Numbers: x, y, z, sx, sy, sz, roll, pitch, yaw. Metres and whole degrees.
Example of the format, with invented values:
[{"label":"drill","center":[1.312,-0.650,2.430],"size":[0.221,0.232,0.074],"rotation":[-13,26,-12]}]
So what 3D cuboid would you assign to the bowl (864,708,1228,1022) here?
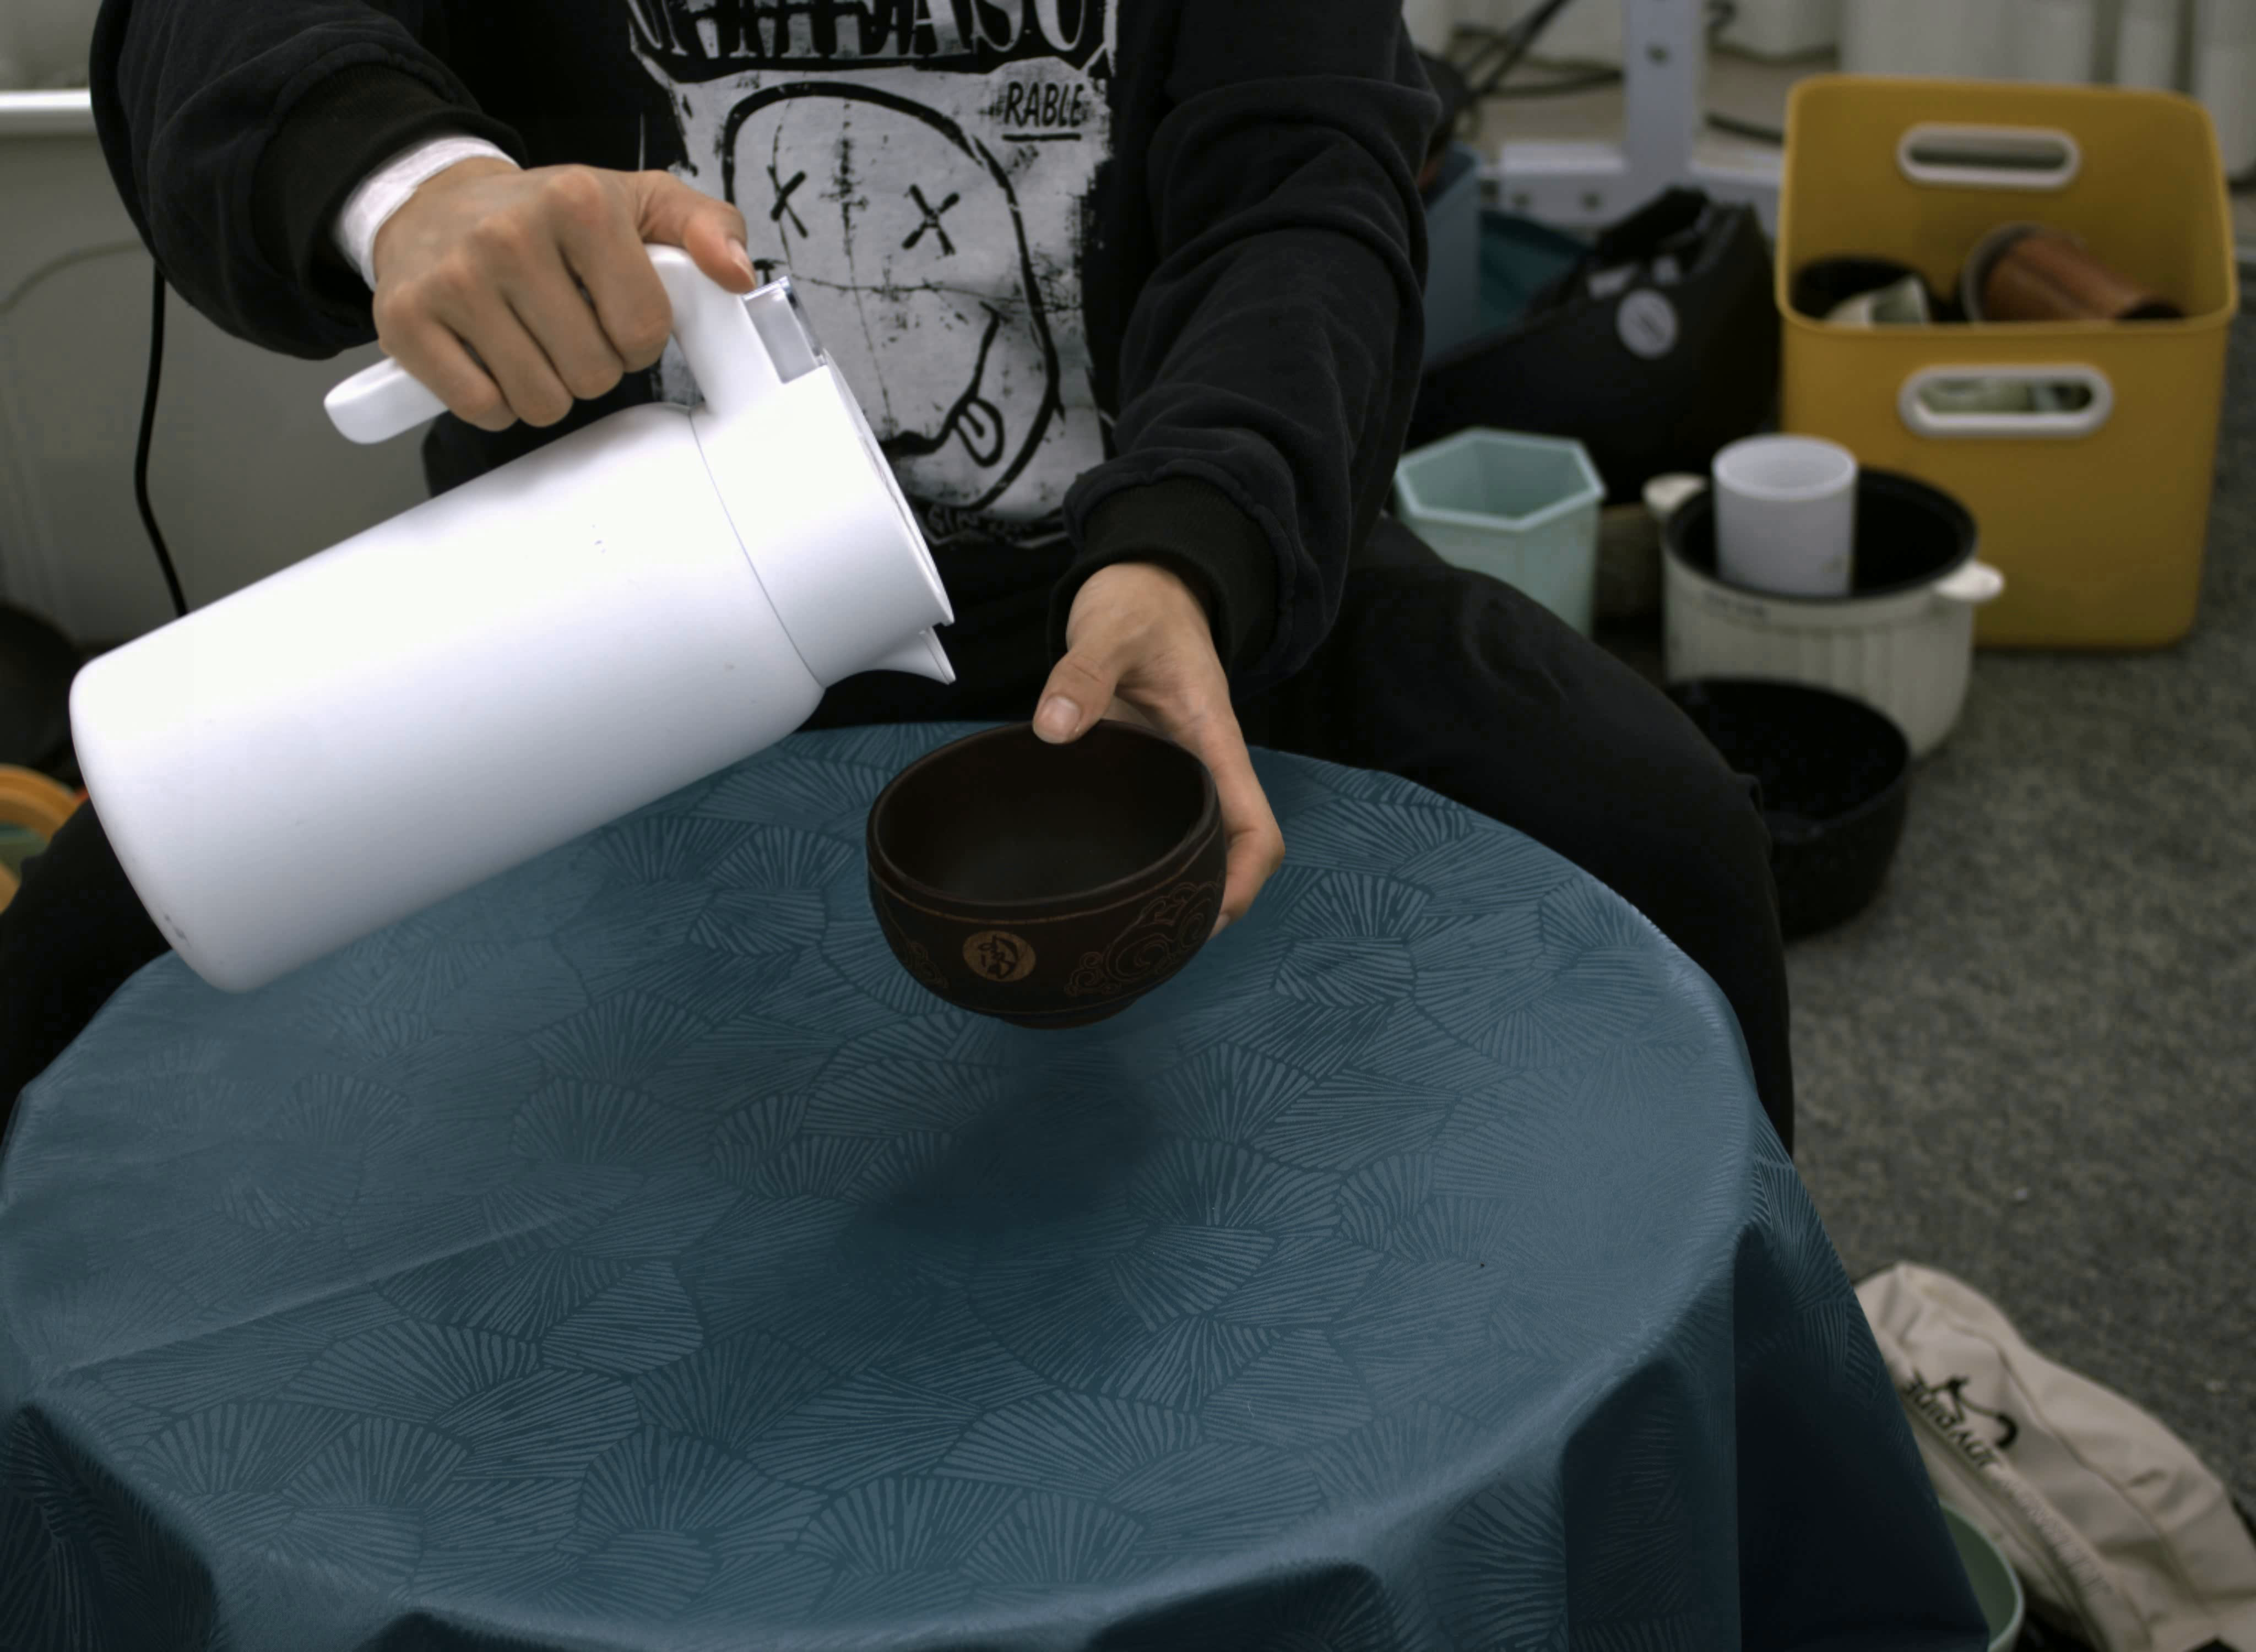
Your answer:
[{"label":"bowl","center":[-0.024,0.020,1.832],"size":[0.117,0.069,0.120],"rotation":[-6,30,4]}]

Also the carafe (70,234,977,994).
[{"label":"carafe","center":[-0.201,-0.067,1.780],"size":[0.268,0.172,0.125],"rotation":[-25,20,3]}]
